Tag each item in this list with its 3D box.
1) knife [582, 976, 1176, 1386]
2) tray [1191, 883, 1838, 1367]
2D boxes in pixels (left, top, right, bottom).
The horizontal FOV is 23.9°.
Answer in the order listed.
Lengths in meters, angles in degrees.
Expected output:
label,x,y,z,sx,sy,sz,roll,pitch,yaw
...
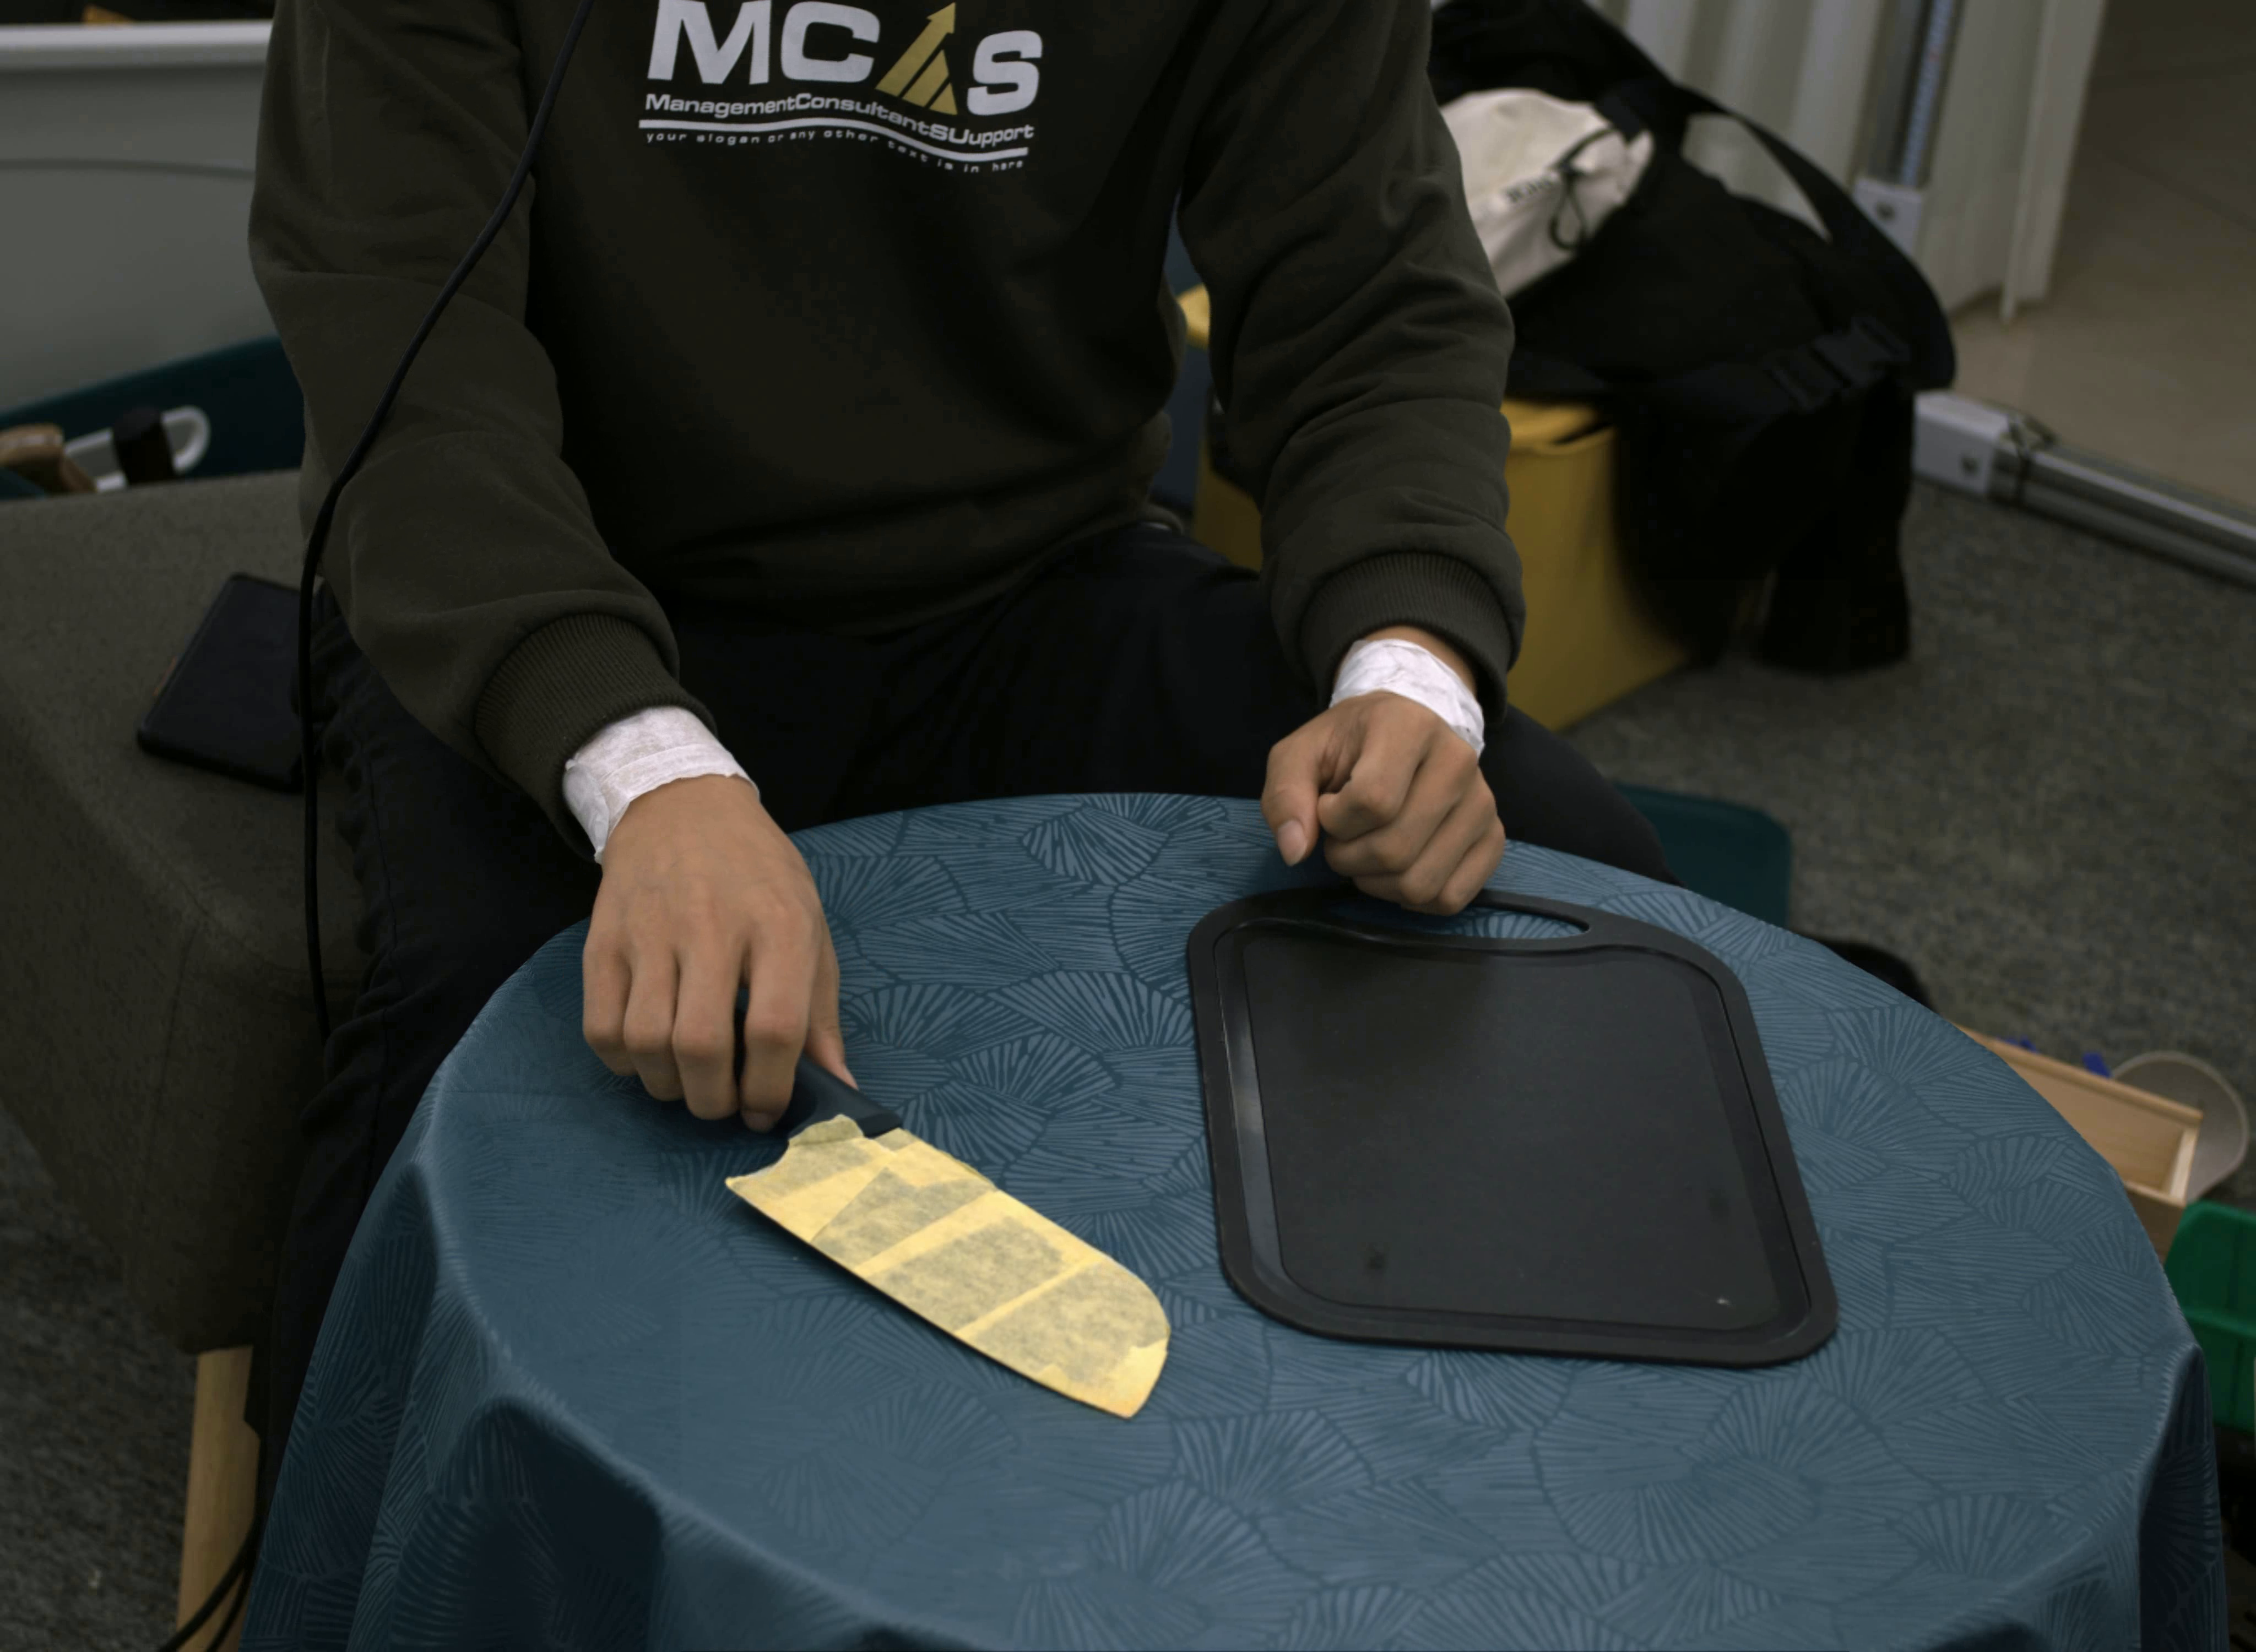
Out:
label,x,y,z,sx,sy,sz,roll,pitch,yaw
knife,-0.092,0.119,1.777,0.080,0.027,0.292,-19,37,-42
tray,0.130,0.096,1.880,0.210,0.010,0.327,5,27,-4
